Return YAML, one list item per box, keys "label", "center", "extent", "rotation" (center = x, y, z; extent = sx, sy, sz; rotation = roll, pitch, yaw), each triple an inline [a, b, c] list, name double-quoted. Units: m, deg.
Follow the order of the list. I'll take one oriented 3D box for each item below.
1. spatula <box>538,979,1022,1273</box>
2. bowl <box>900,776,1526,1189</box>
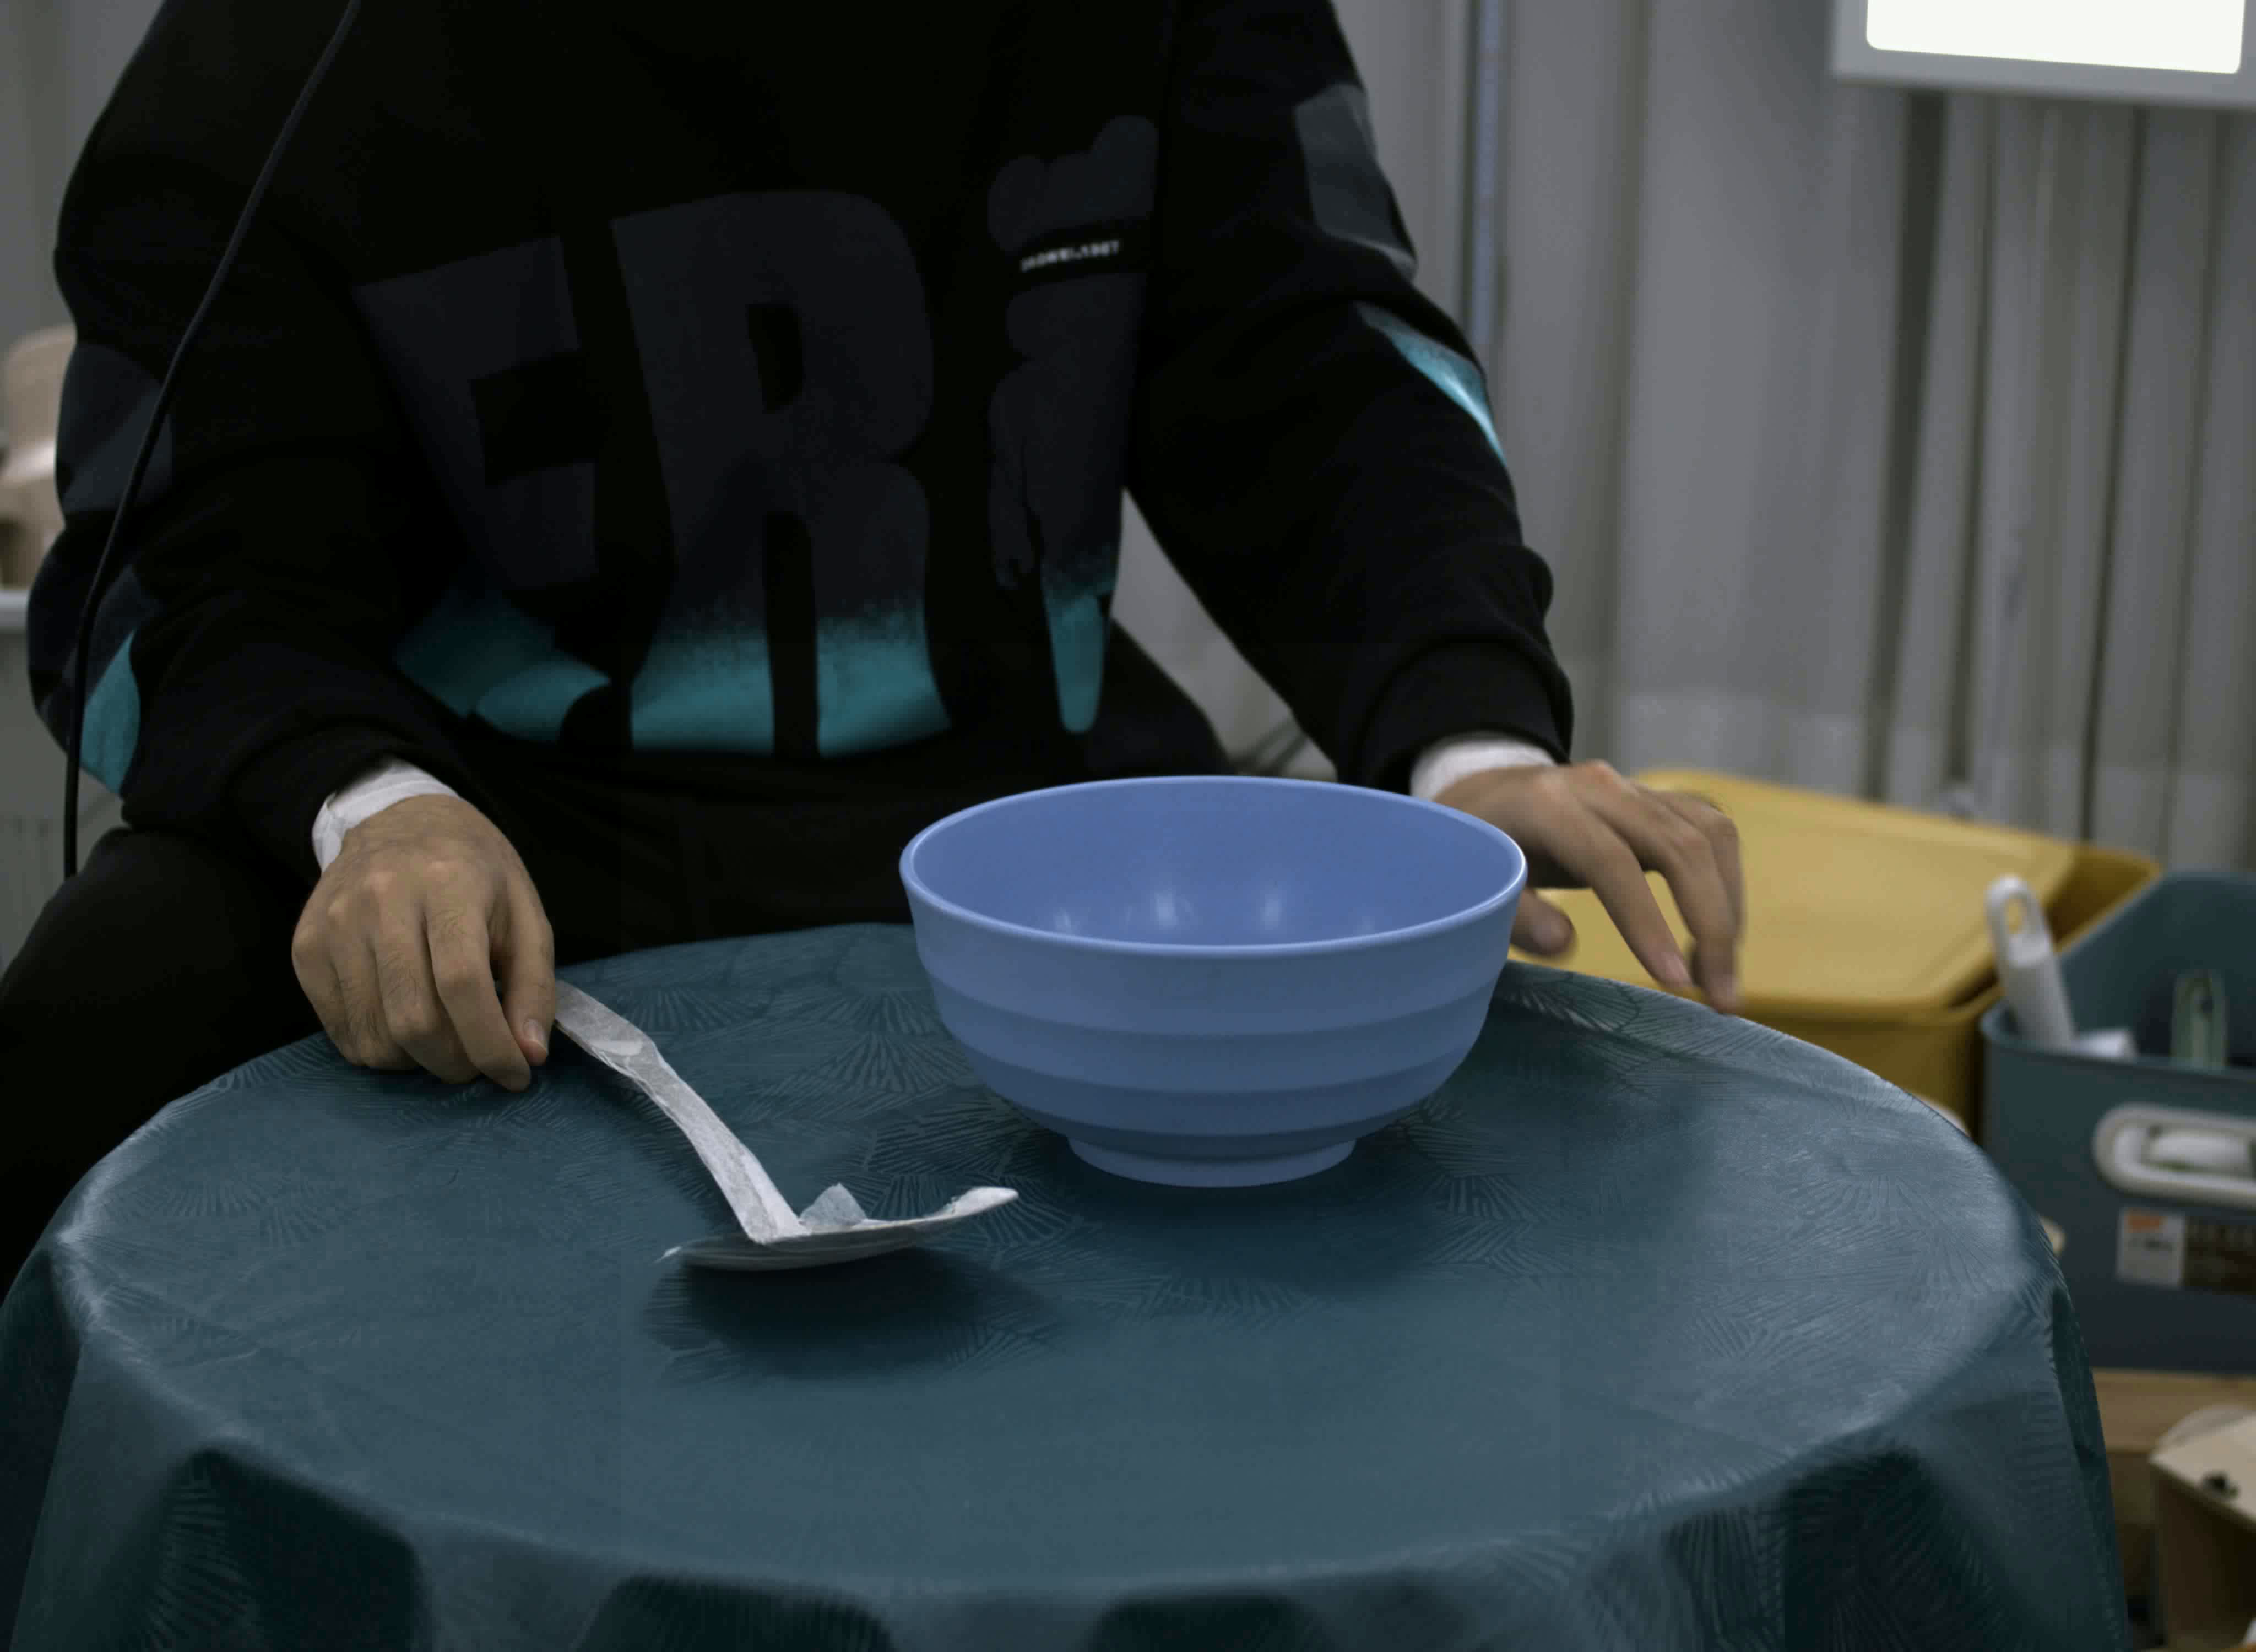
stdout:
- label: "spatula"
  center: [-0.134, 0.084, 1.649]
  extent: [0.099, 0.045, 0.360]
  rotation: [-8, 18, -20]
- label: "bowl"
  center: [0.027, 0.055, 1.659]
  extent: [0.196, 0.096, 0.195]
  rotation: [0, 17, 1]
